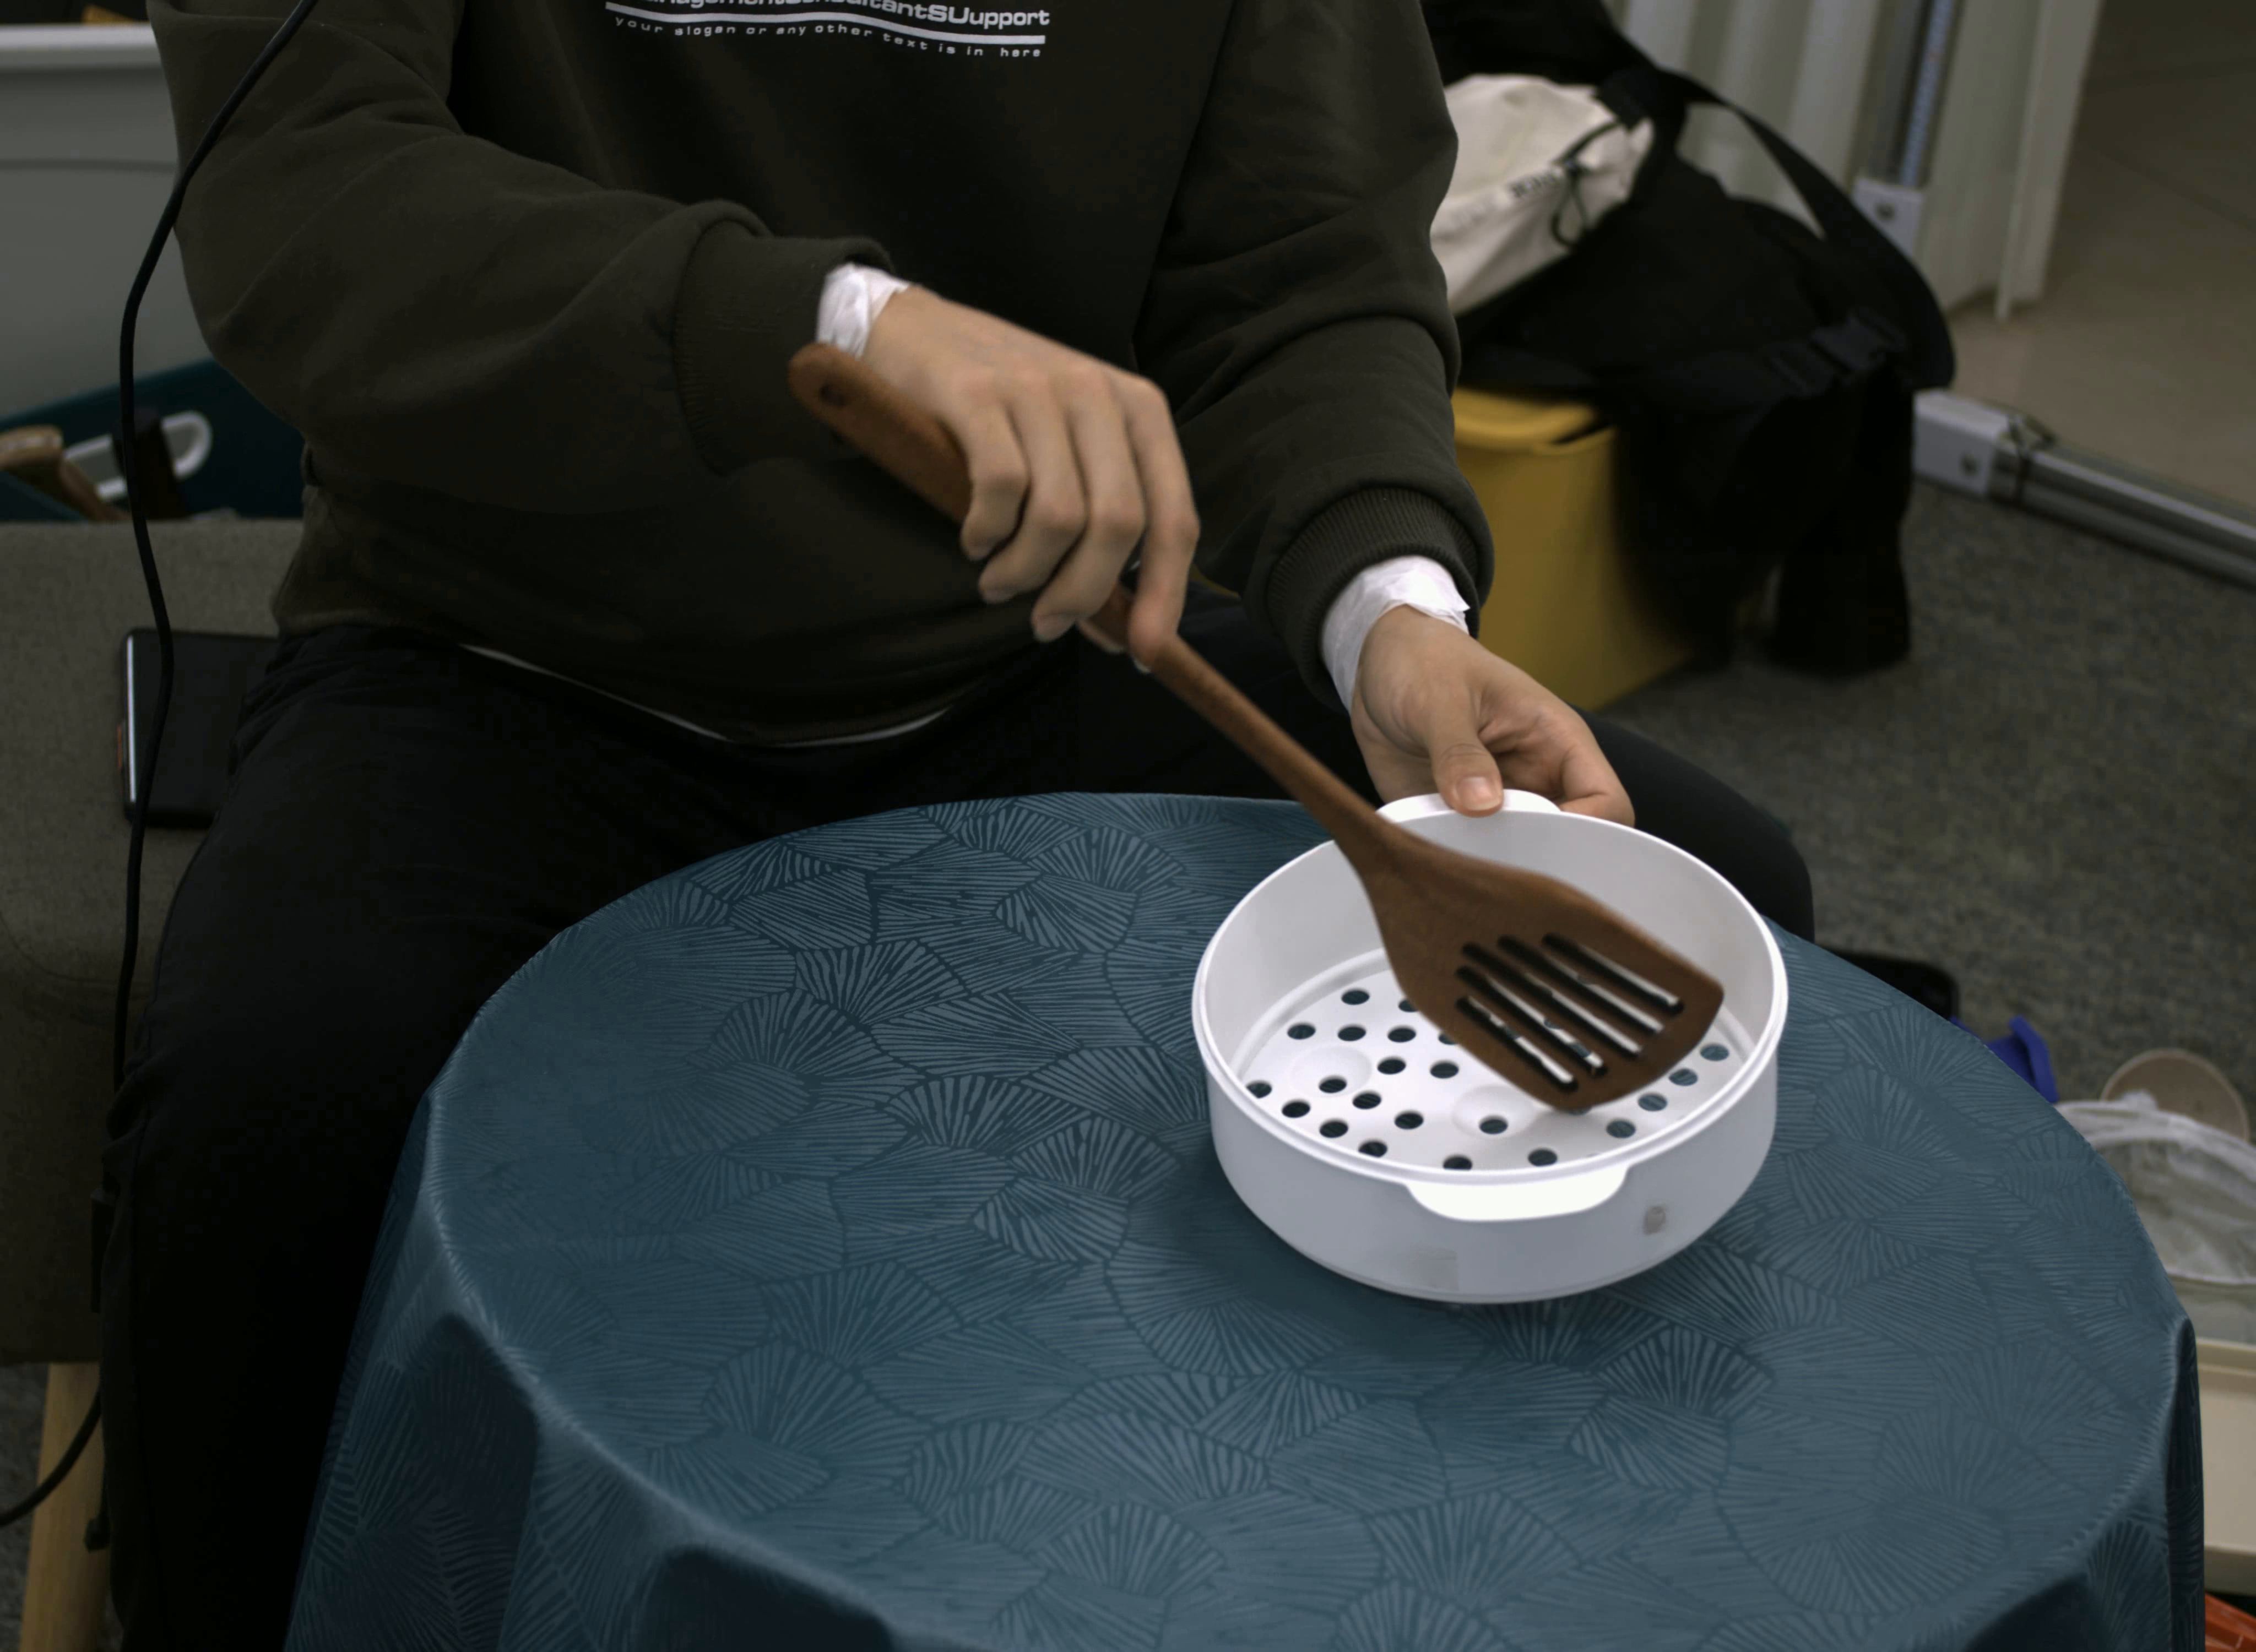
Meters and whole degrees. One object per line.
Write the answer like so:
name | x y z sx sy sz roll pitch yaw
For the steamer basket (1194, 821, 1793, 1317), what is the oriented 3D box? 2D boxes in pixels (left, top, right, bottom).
steamer basket | 0.124 0.085 1.807 0.201 0.069 0.232 -3 33 0

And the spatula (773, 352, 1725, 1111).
spatula | 0.035 -0.031 1.748 0.383 0.086 0.024 39 38 -13
